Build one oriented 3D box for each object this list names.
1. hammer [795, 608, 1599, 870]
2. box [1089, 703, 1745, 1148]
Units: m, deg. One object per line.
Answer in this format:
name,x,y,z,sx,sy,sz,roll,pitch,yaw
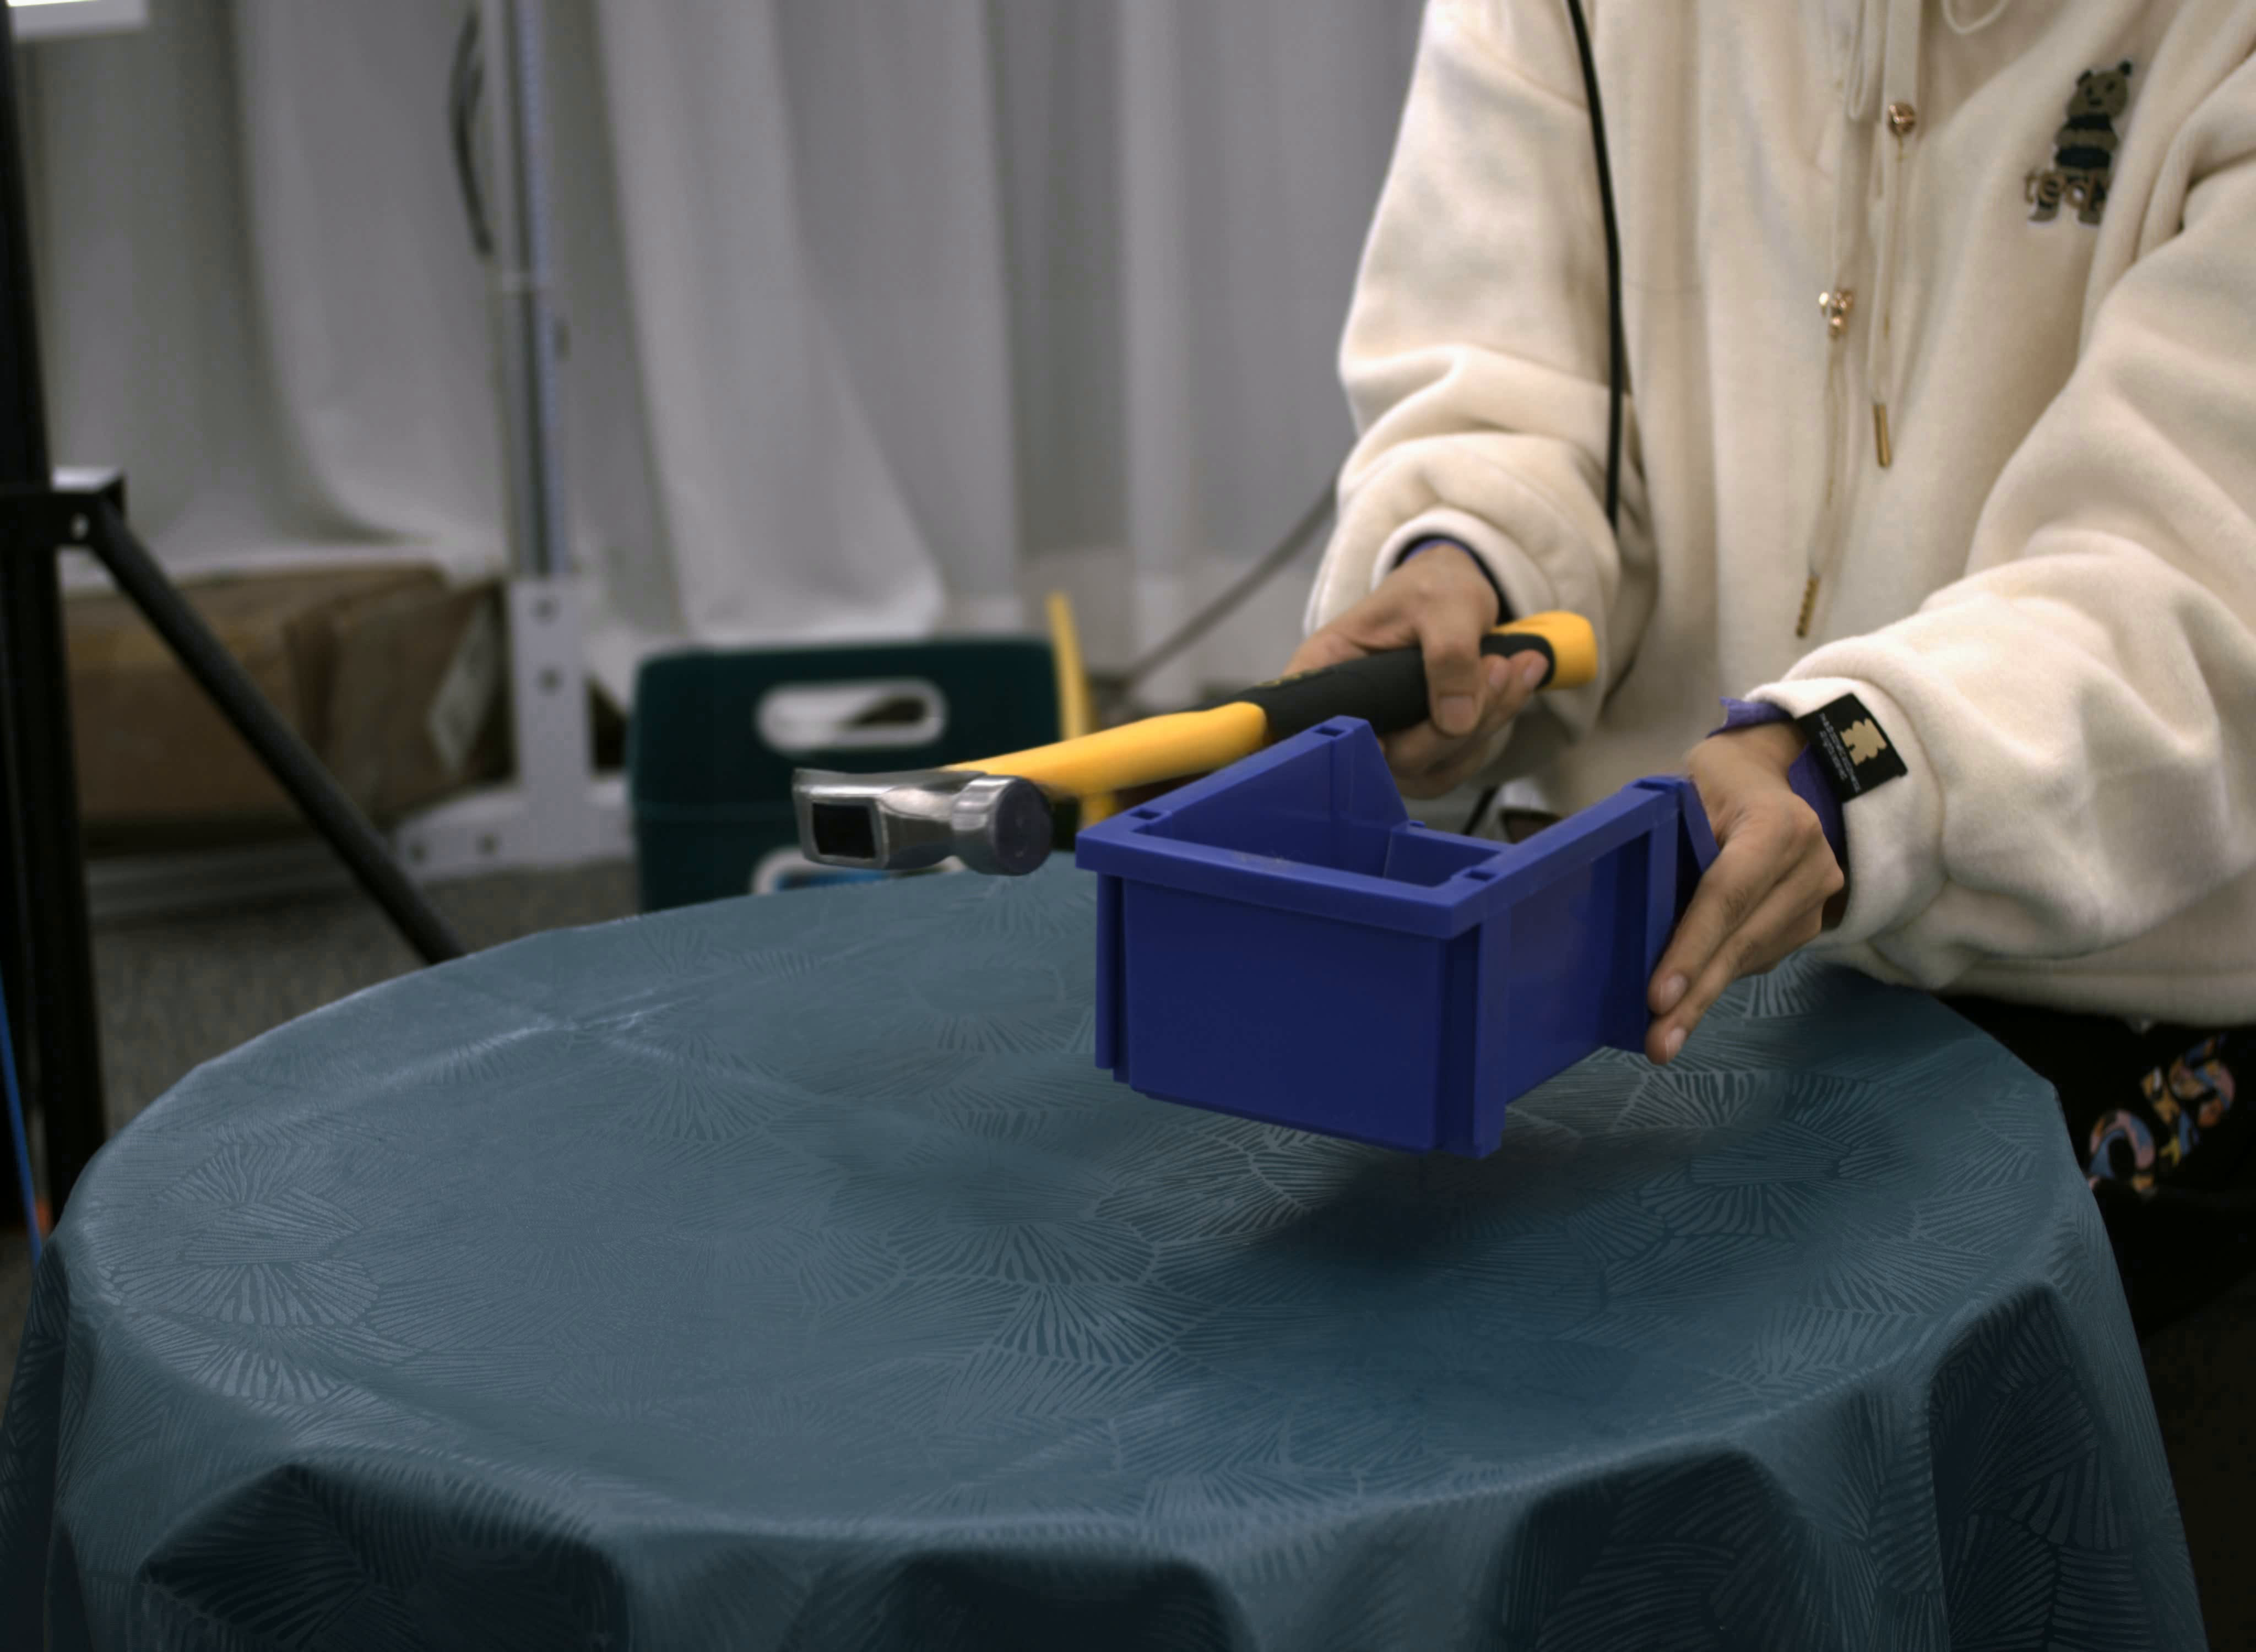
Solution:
hammer,0.033,-0.032,1.716,0.330,0.032,0.134,-15,10,-42
box,0.085,0.024,1.536,0.127,0.082,0.176,10,21,32
